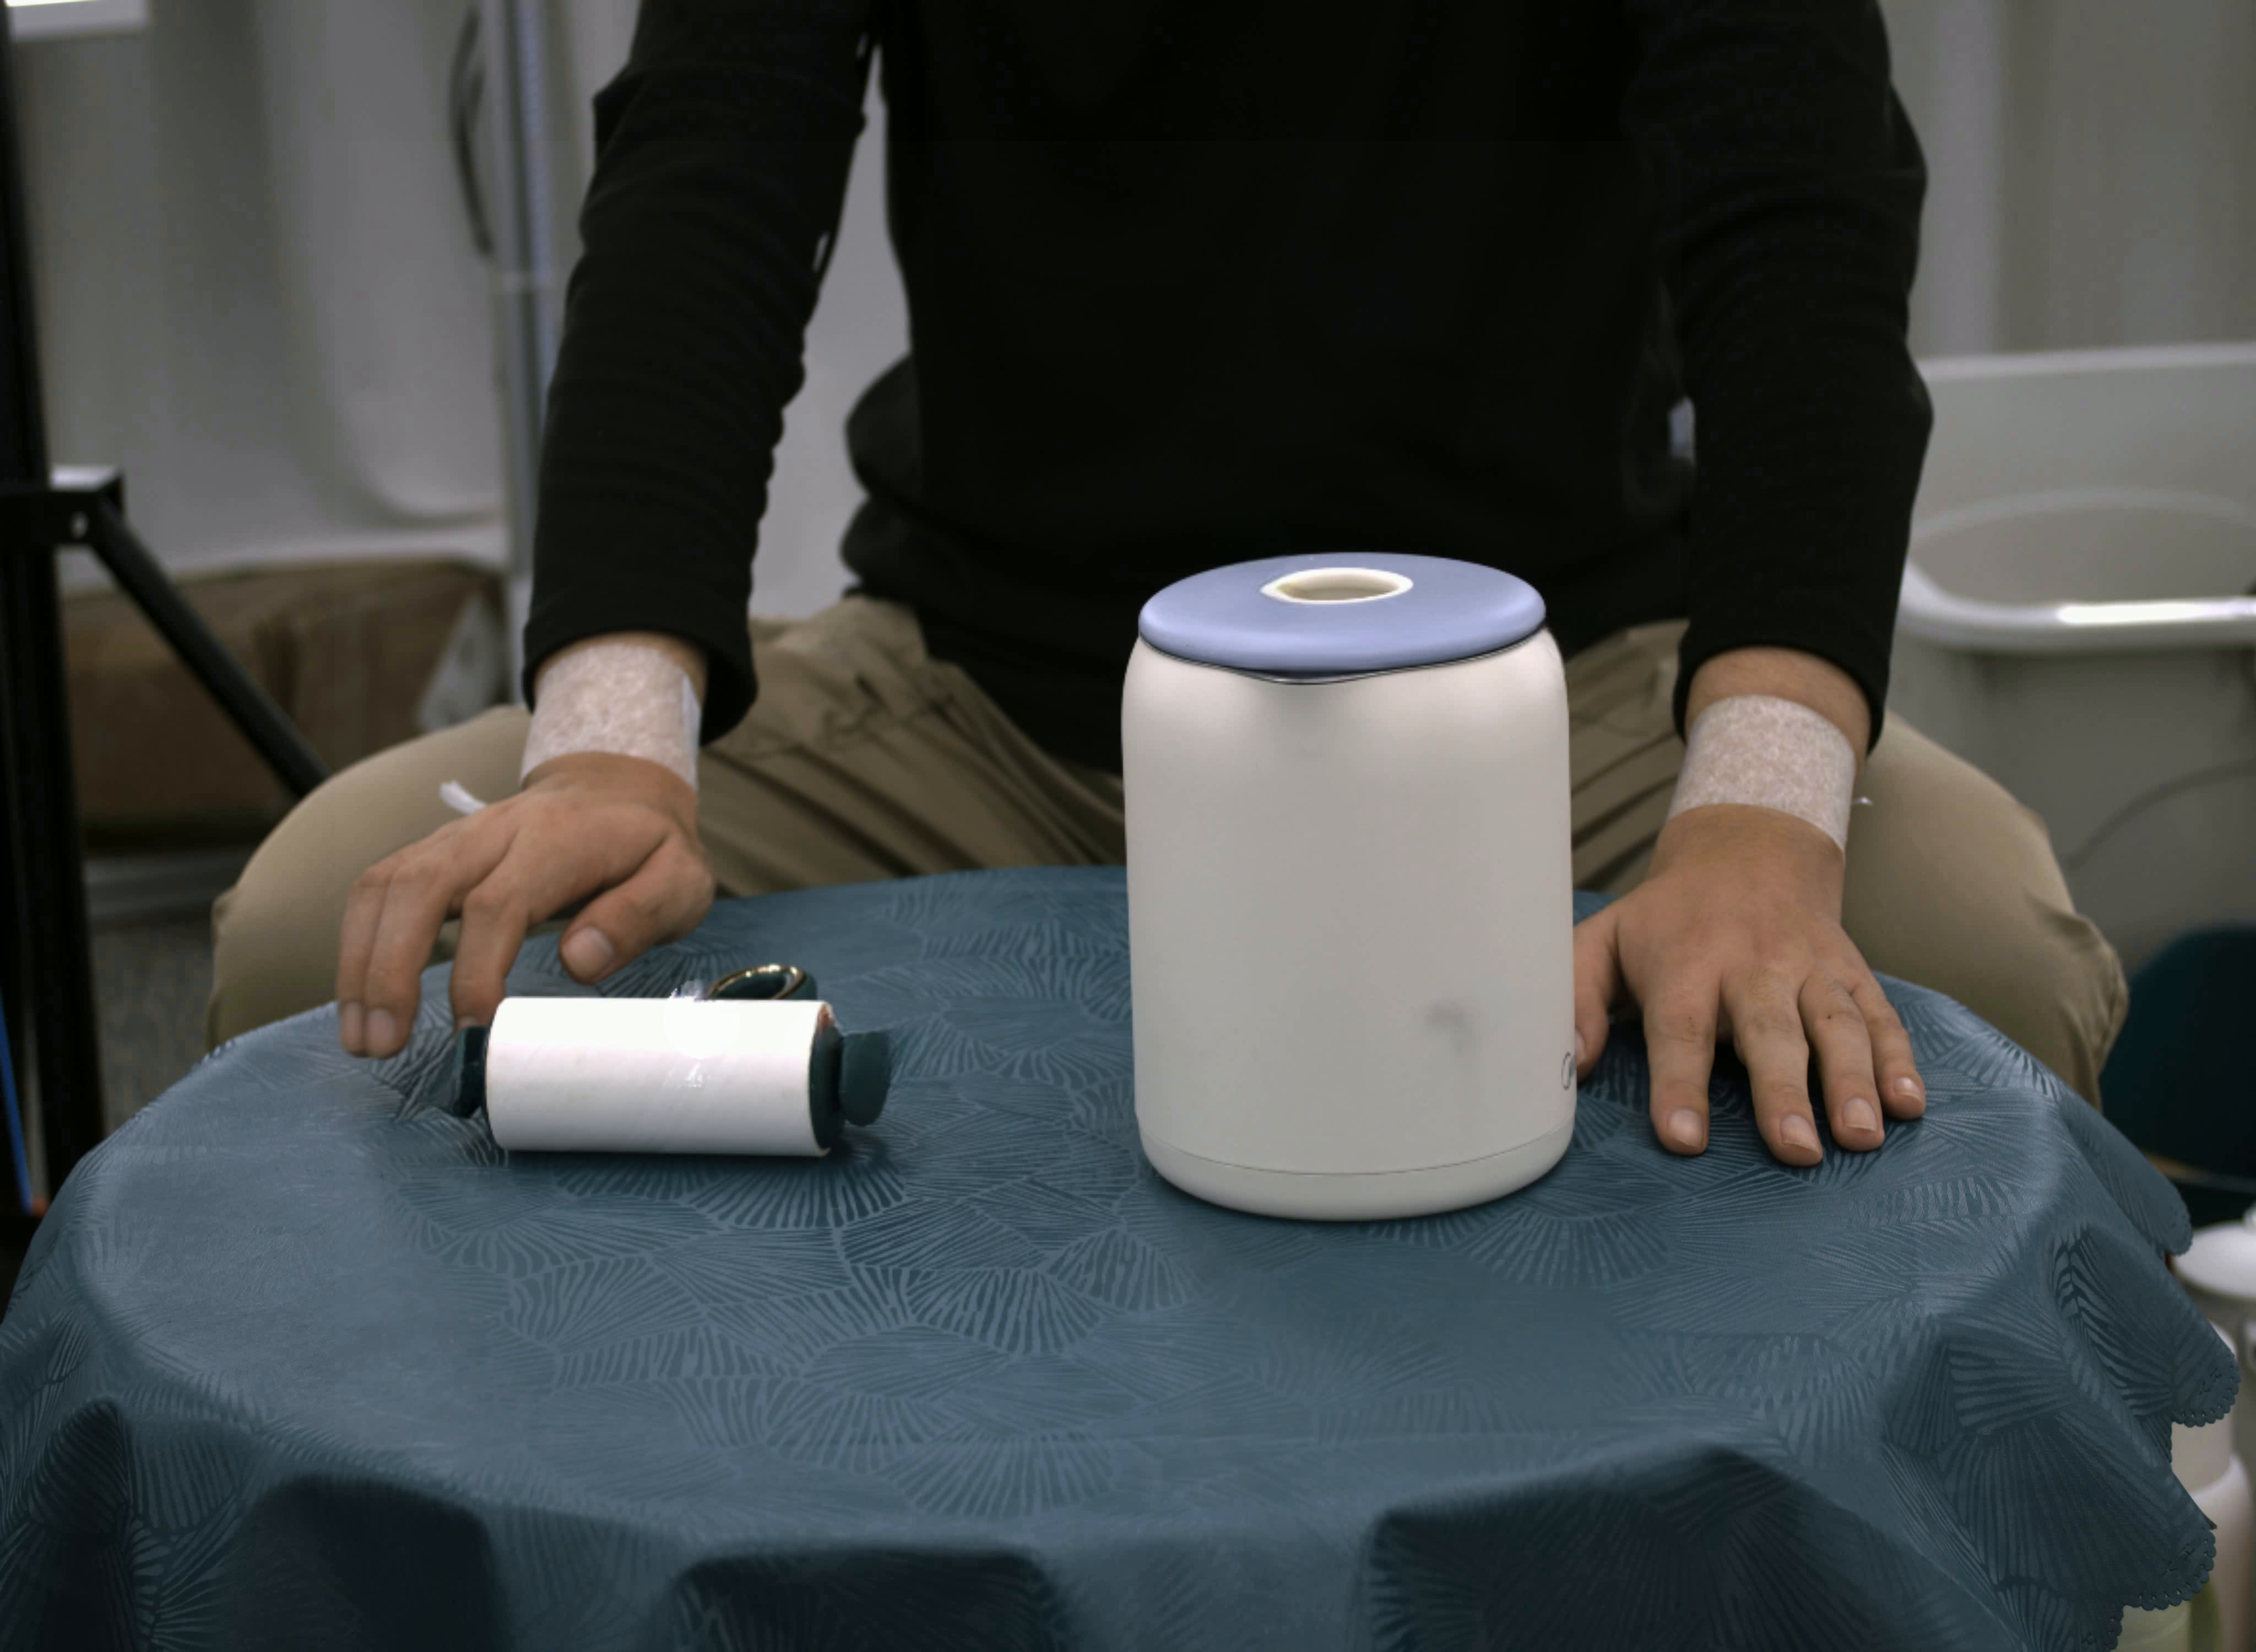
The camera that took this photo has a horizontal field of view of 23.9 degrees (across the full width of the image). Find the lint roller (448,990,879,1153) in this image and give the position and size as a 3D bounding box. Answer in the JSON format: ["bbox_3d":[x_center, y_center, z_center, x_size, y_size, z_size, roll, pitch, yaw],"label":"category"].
[{"bbox_3d":[-0.130,0.060,1.674,0.135,0.048,0.179,0,13,10],"label":"lint roller"}]

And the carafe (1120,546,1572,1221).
[{"bbox_3d":[0.069,0.010,1.579,0.133,0.182,0.190,1,14,11],"label":"carafe"}]
